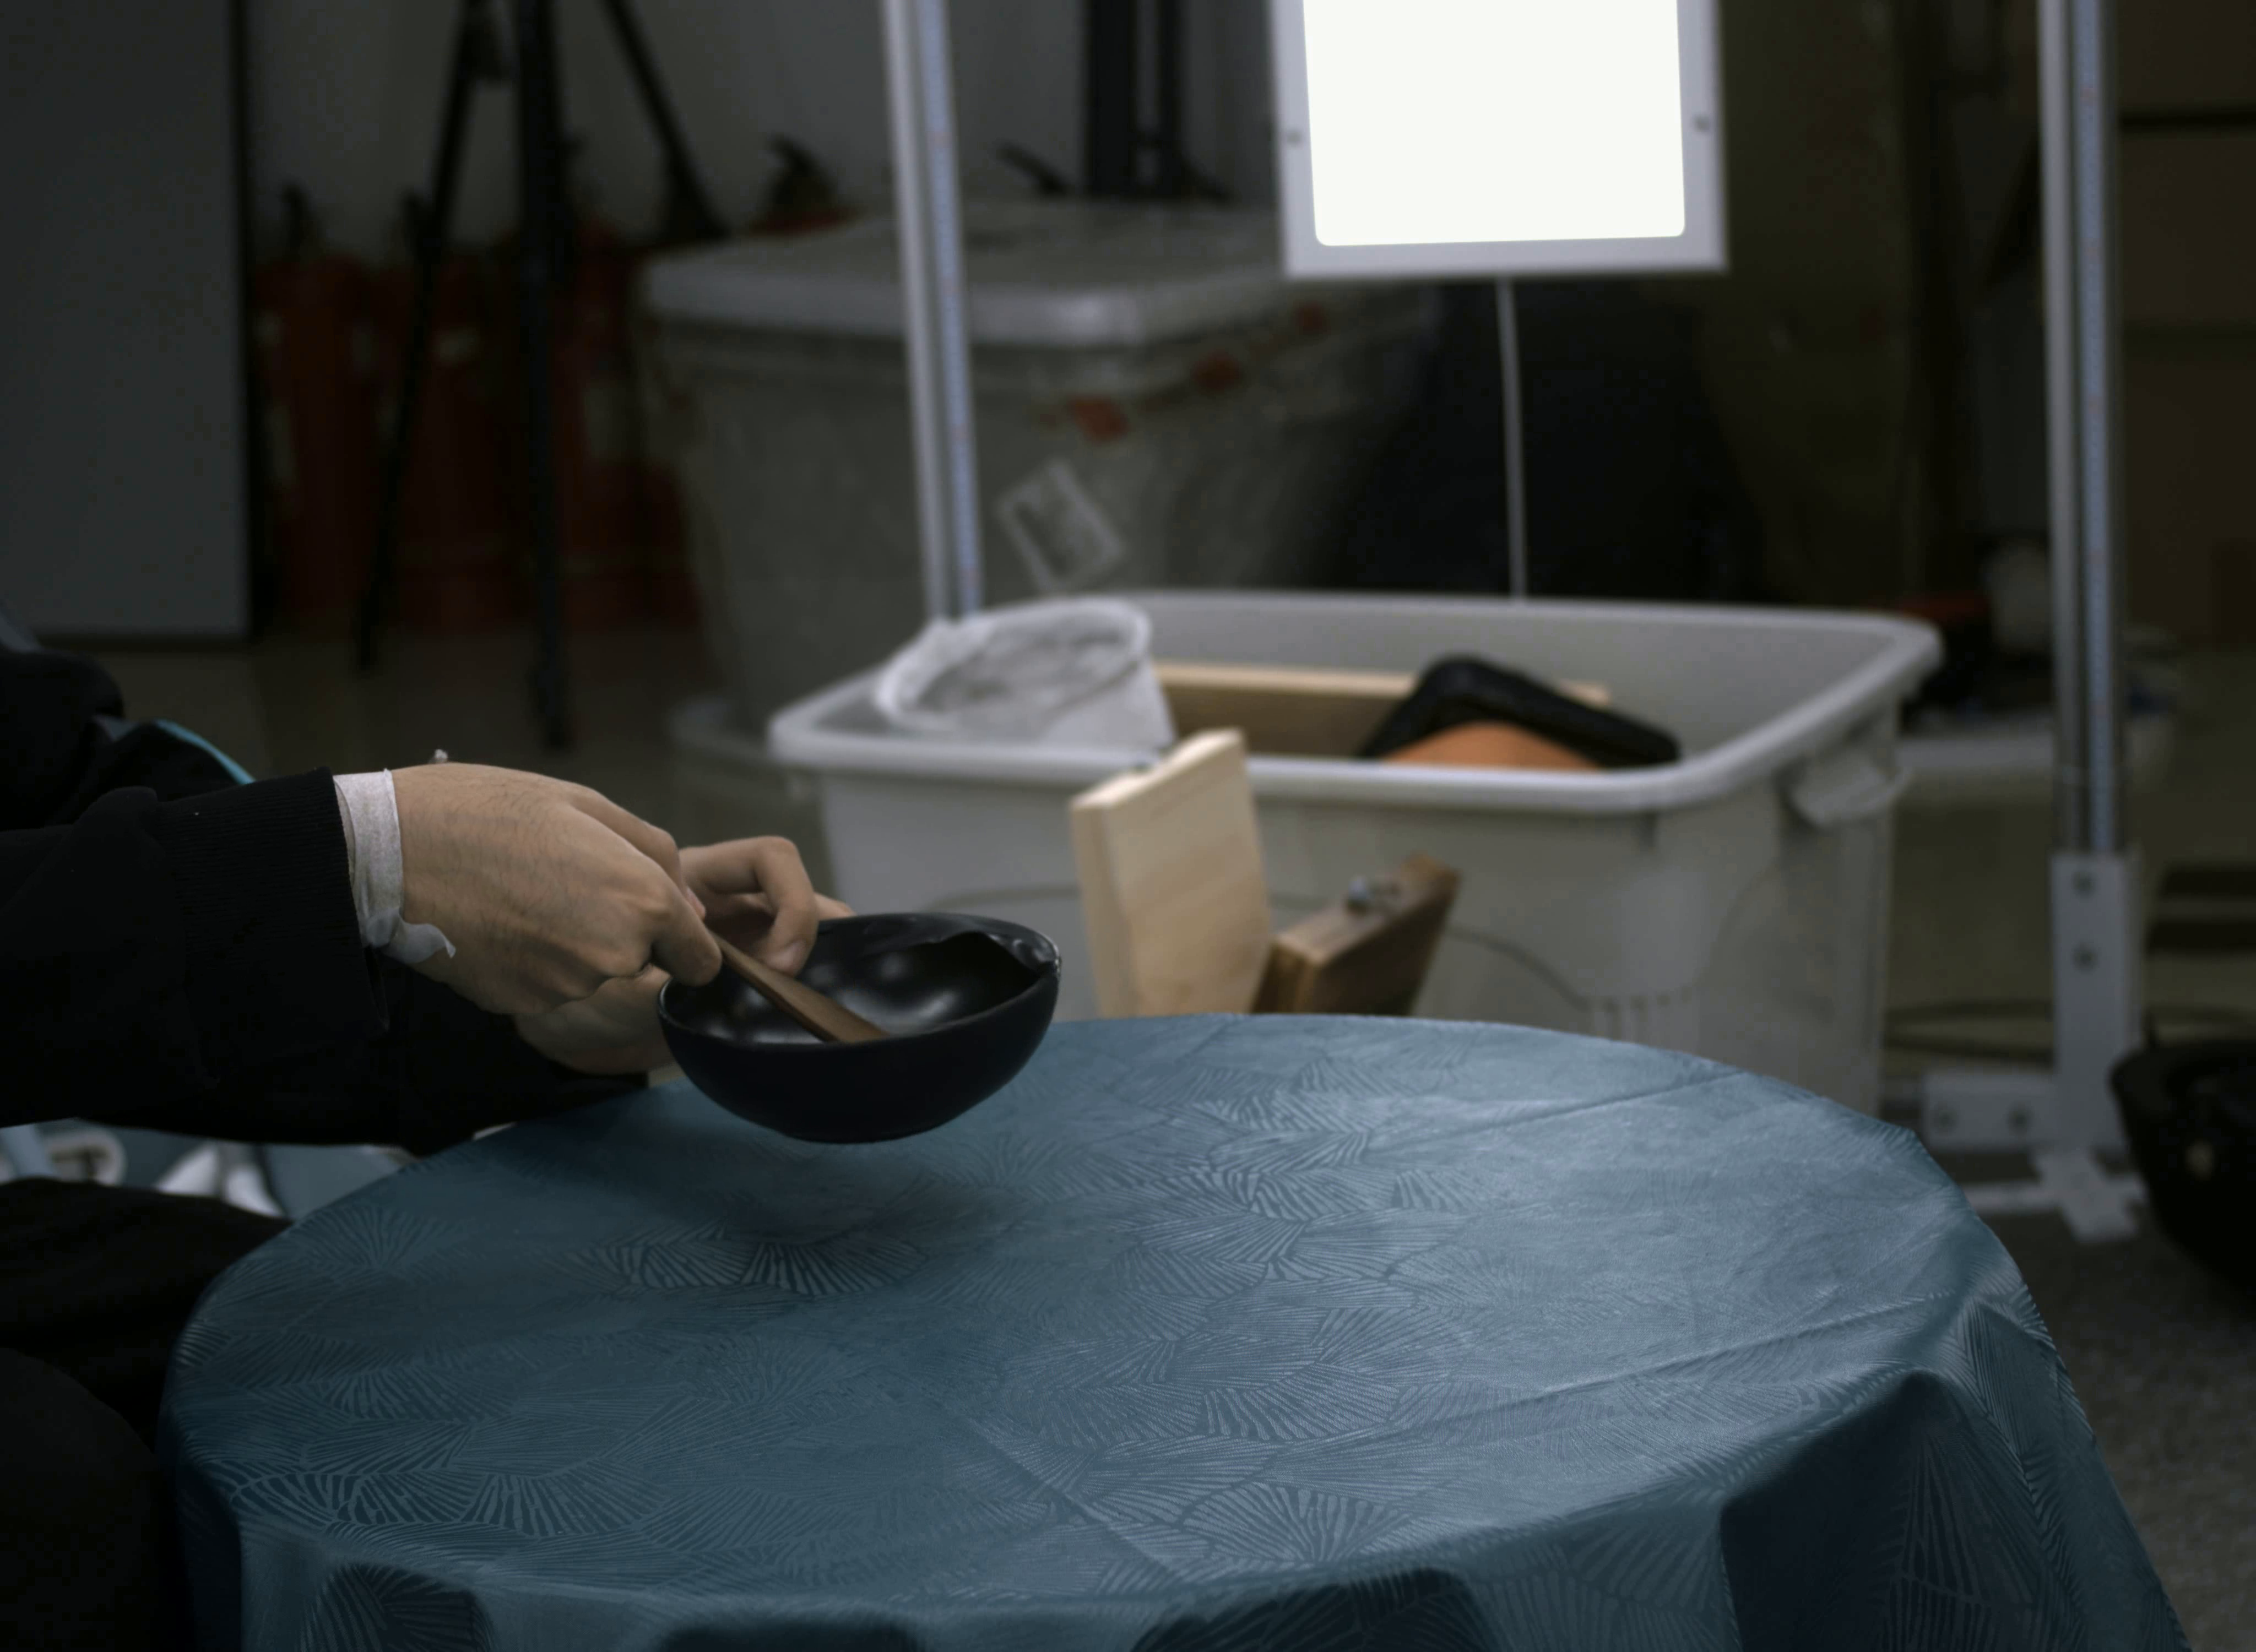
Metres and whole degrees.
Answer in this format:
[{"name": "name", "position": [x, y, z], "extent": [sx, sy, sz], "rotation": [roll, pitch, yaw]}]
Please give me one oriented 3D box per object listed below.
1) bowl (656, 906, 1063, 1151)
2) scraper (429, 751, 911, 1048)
[{"name": "bowl", "position": [-0.088, 0.074, 1.873], "extent": [0.140, 0.050, 0.140], "rotation": [-8, 19, 1]}, {"name": "scraper", "position": [-0.146, 0.033, 1.858], "extent": [0.209, 0.011, 0.076], "rotation": [33, 3, -12]}]
